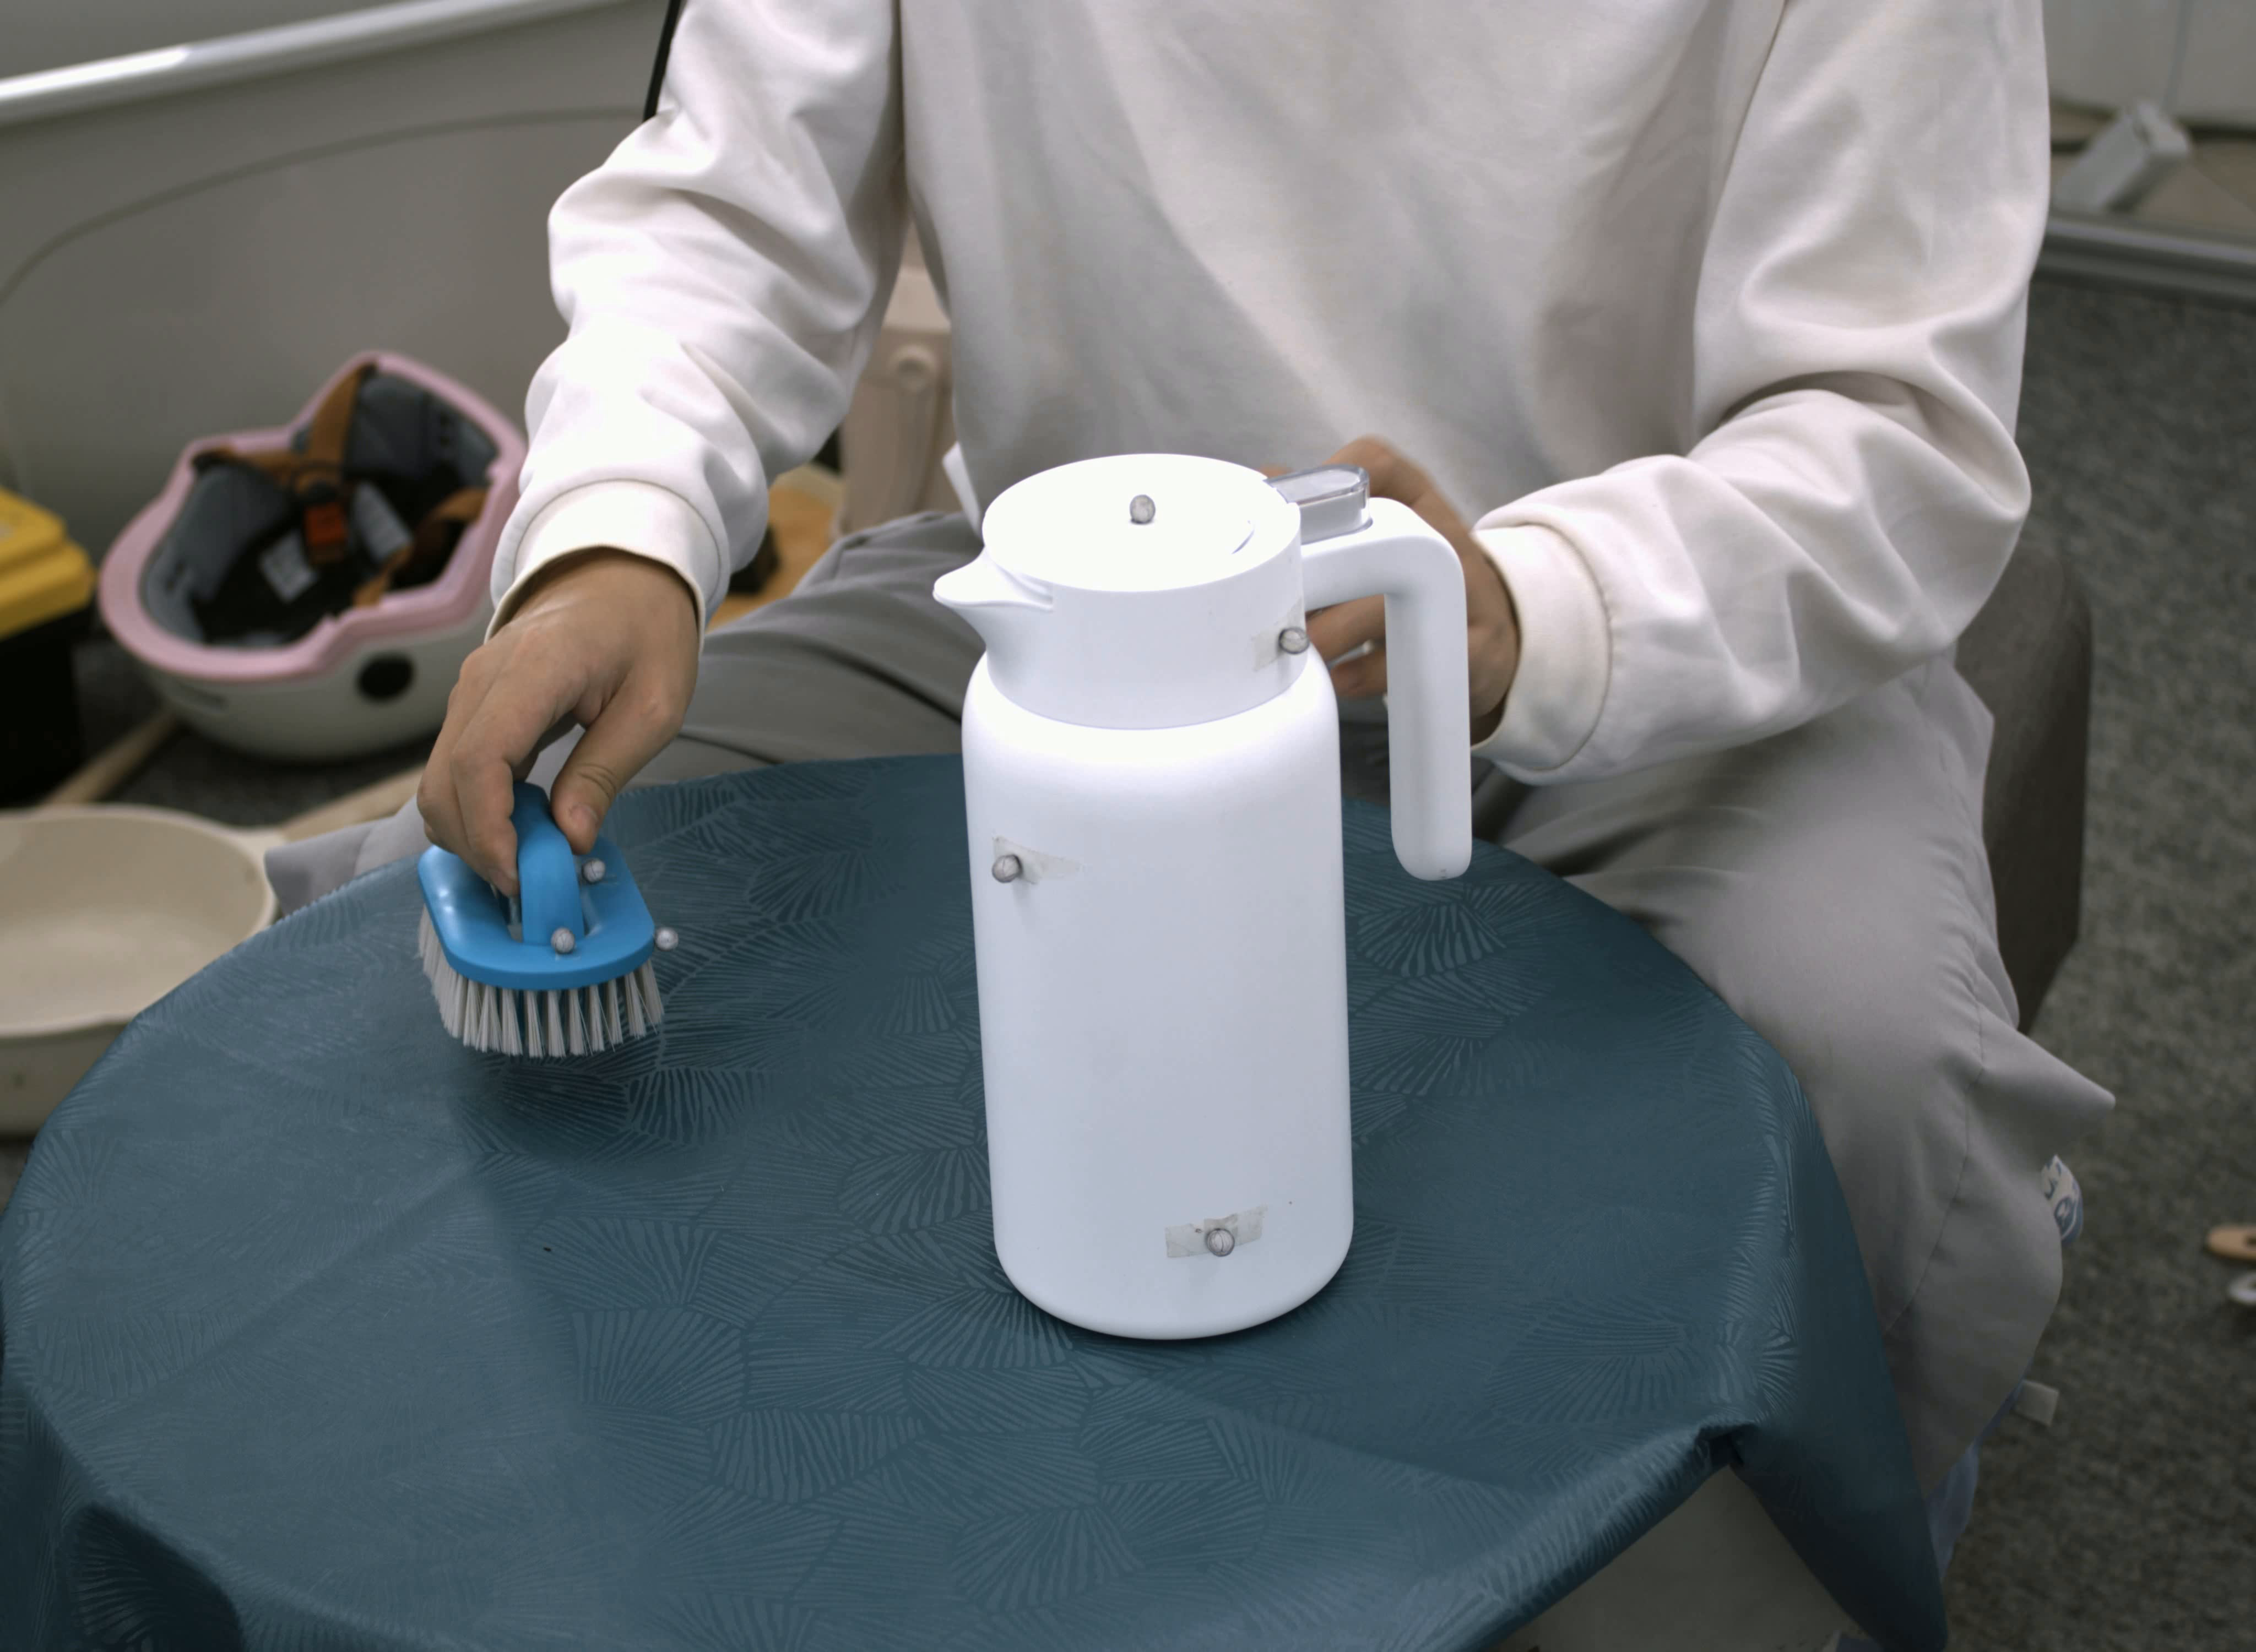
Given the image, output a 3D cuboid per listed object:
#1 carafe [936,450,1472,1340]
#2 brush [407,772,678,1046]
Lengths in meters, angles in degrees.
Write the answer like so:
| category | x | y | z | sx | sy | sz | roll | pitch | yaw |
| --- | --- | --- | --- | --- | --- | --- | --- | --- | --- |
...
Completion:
| category | x | y | z | sx | sy | sz | roll | pitch | yaw |
| --- | --- | --- | --- | --- | --- | --- | --- | --- | --- |
| carafe | 0.026 | 0.018 | 1.777 | 0.173 | 0.266 | 0.124 | -13 | 26 | -21 |
| brush | -0.206 | 0.022 | 1.950 | 0.084 | 0.063 | 0.143 | -9 | 22 | -12 |
